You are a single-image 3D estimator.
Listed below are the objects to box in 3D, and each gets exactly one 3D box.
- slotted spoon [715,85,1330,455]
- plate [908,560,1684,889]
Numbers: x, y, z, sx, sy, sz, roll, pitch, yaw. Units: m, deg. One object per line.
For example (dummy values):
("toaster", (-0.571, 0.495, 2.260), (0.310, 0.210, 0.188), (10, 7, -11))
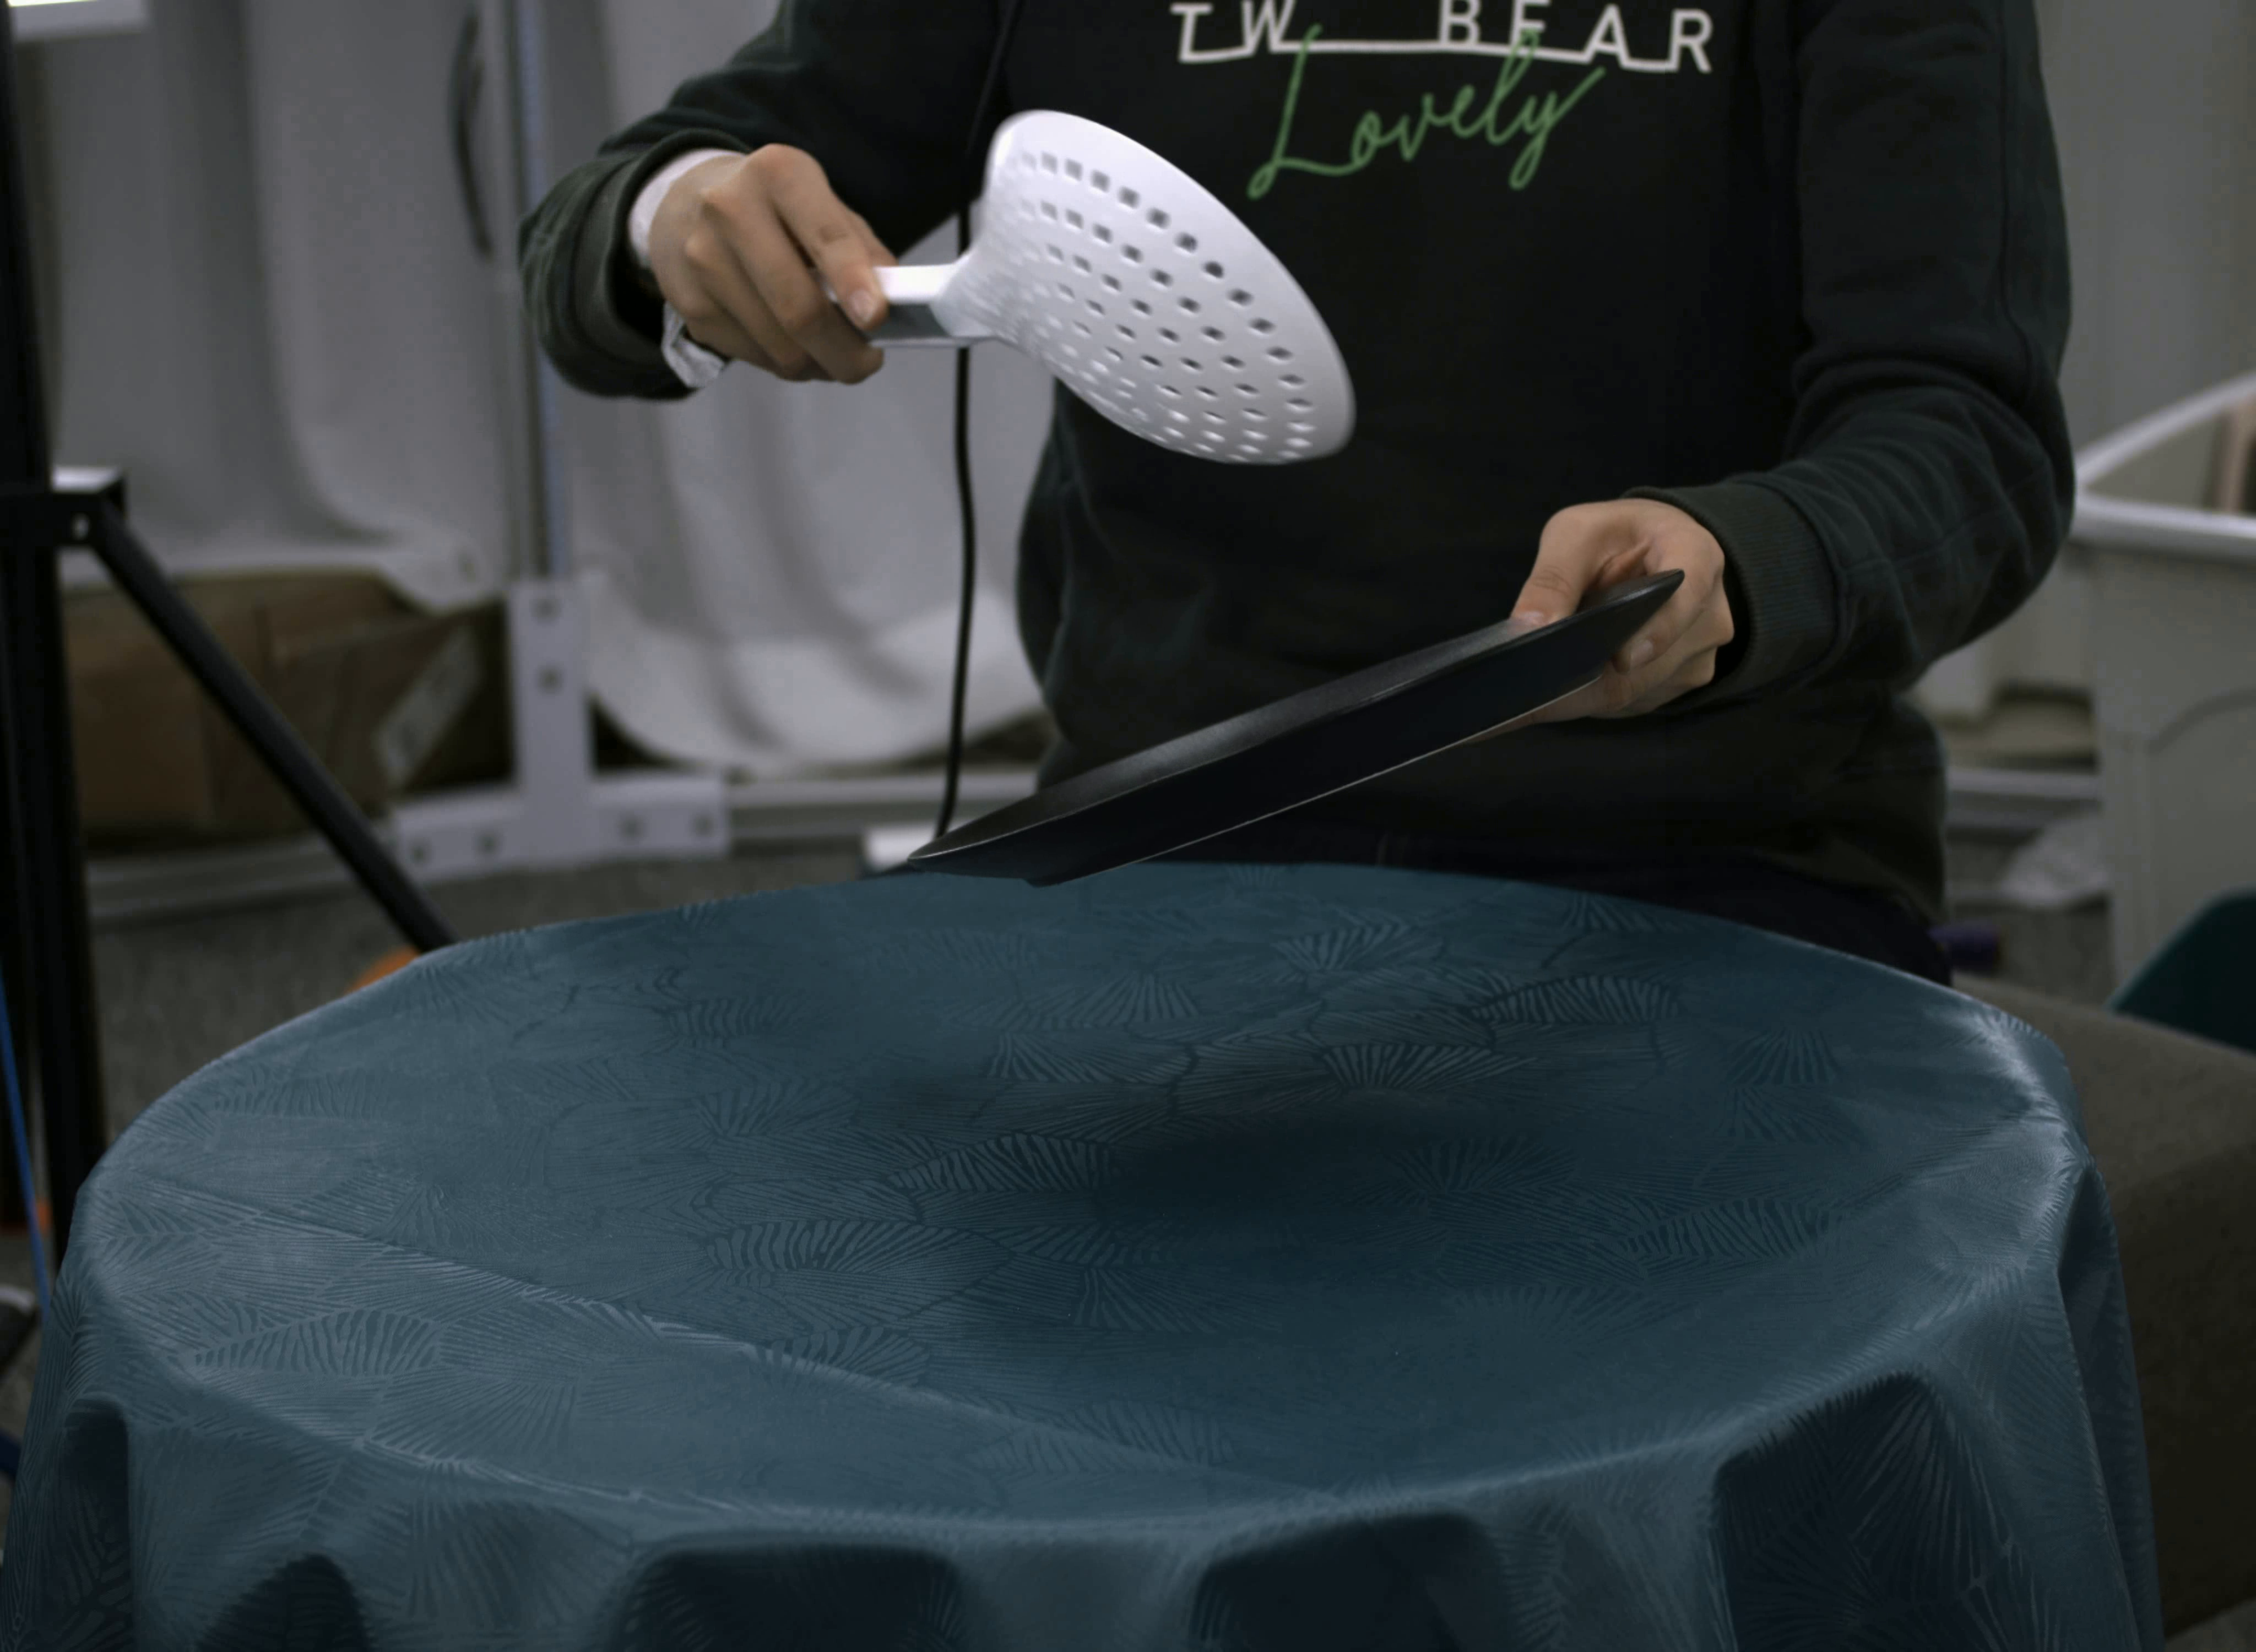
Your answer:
("slotted spoon", (-0.048, -0.165, 1.669), (0.045, 0.134, 0.356), (-42, 21, -15))
("plate", (0.052, -0.024, 1.560), (0.243, 0.023, 0.244), (-21, 2, -1))
